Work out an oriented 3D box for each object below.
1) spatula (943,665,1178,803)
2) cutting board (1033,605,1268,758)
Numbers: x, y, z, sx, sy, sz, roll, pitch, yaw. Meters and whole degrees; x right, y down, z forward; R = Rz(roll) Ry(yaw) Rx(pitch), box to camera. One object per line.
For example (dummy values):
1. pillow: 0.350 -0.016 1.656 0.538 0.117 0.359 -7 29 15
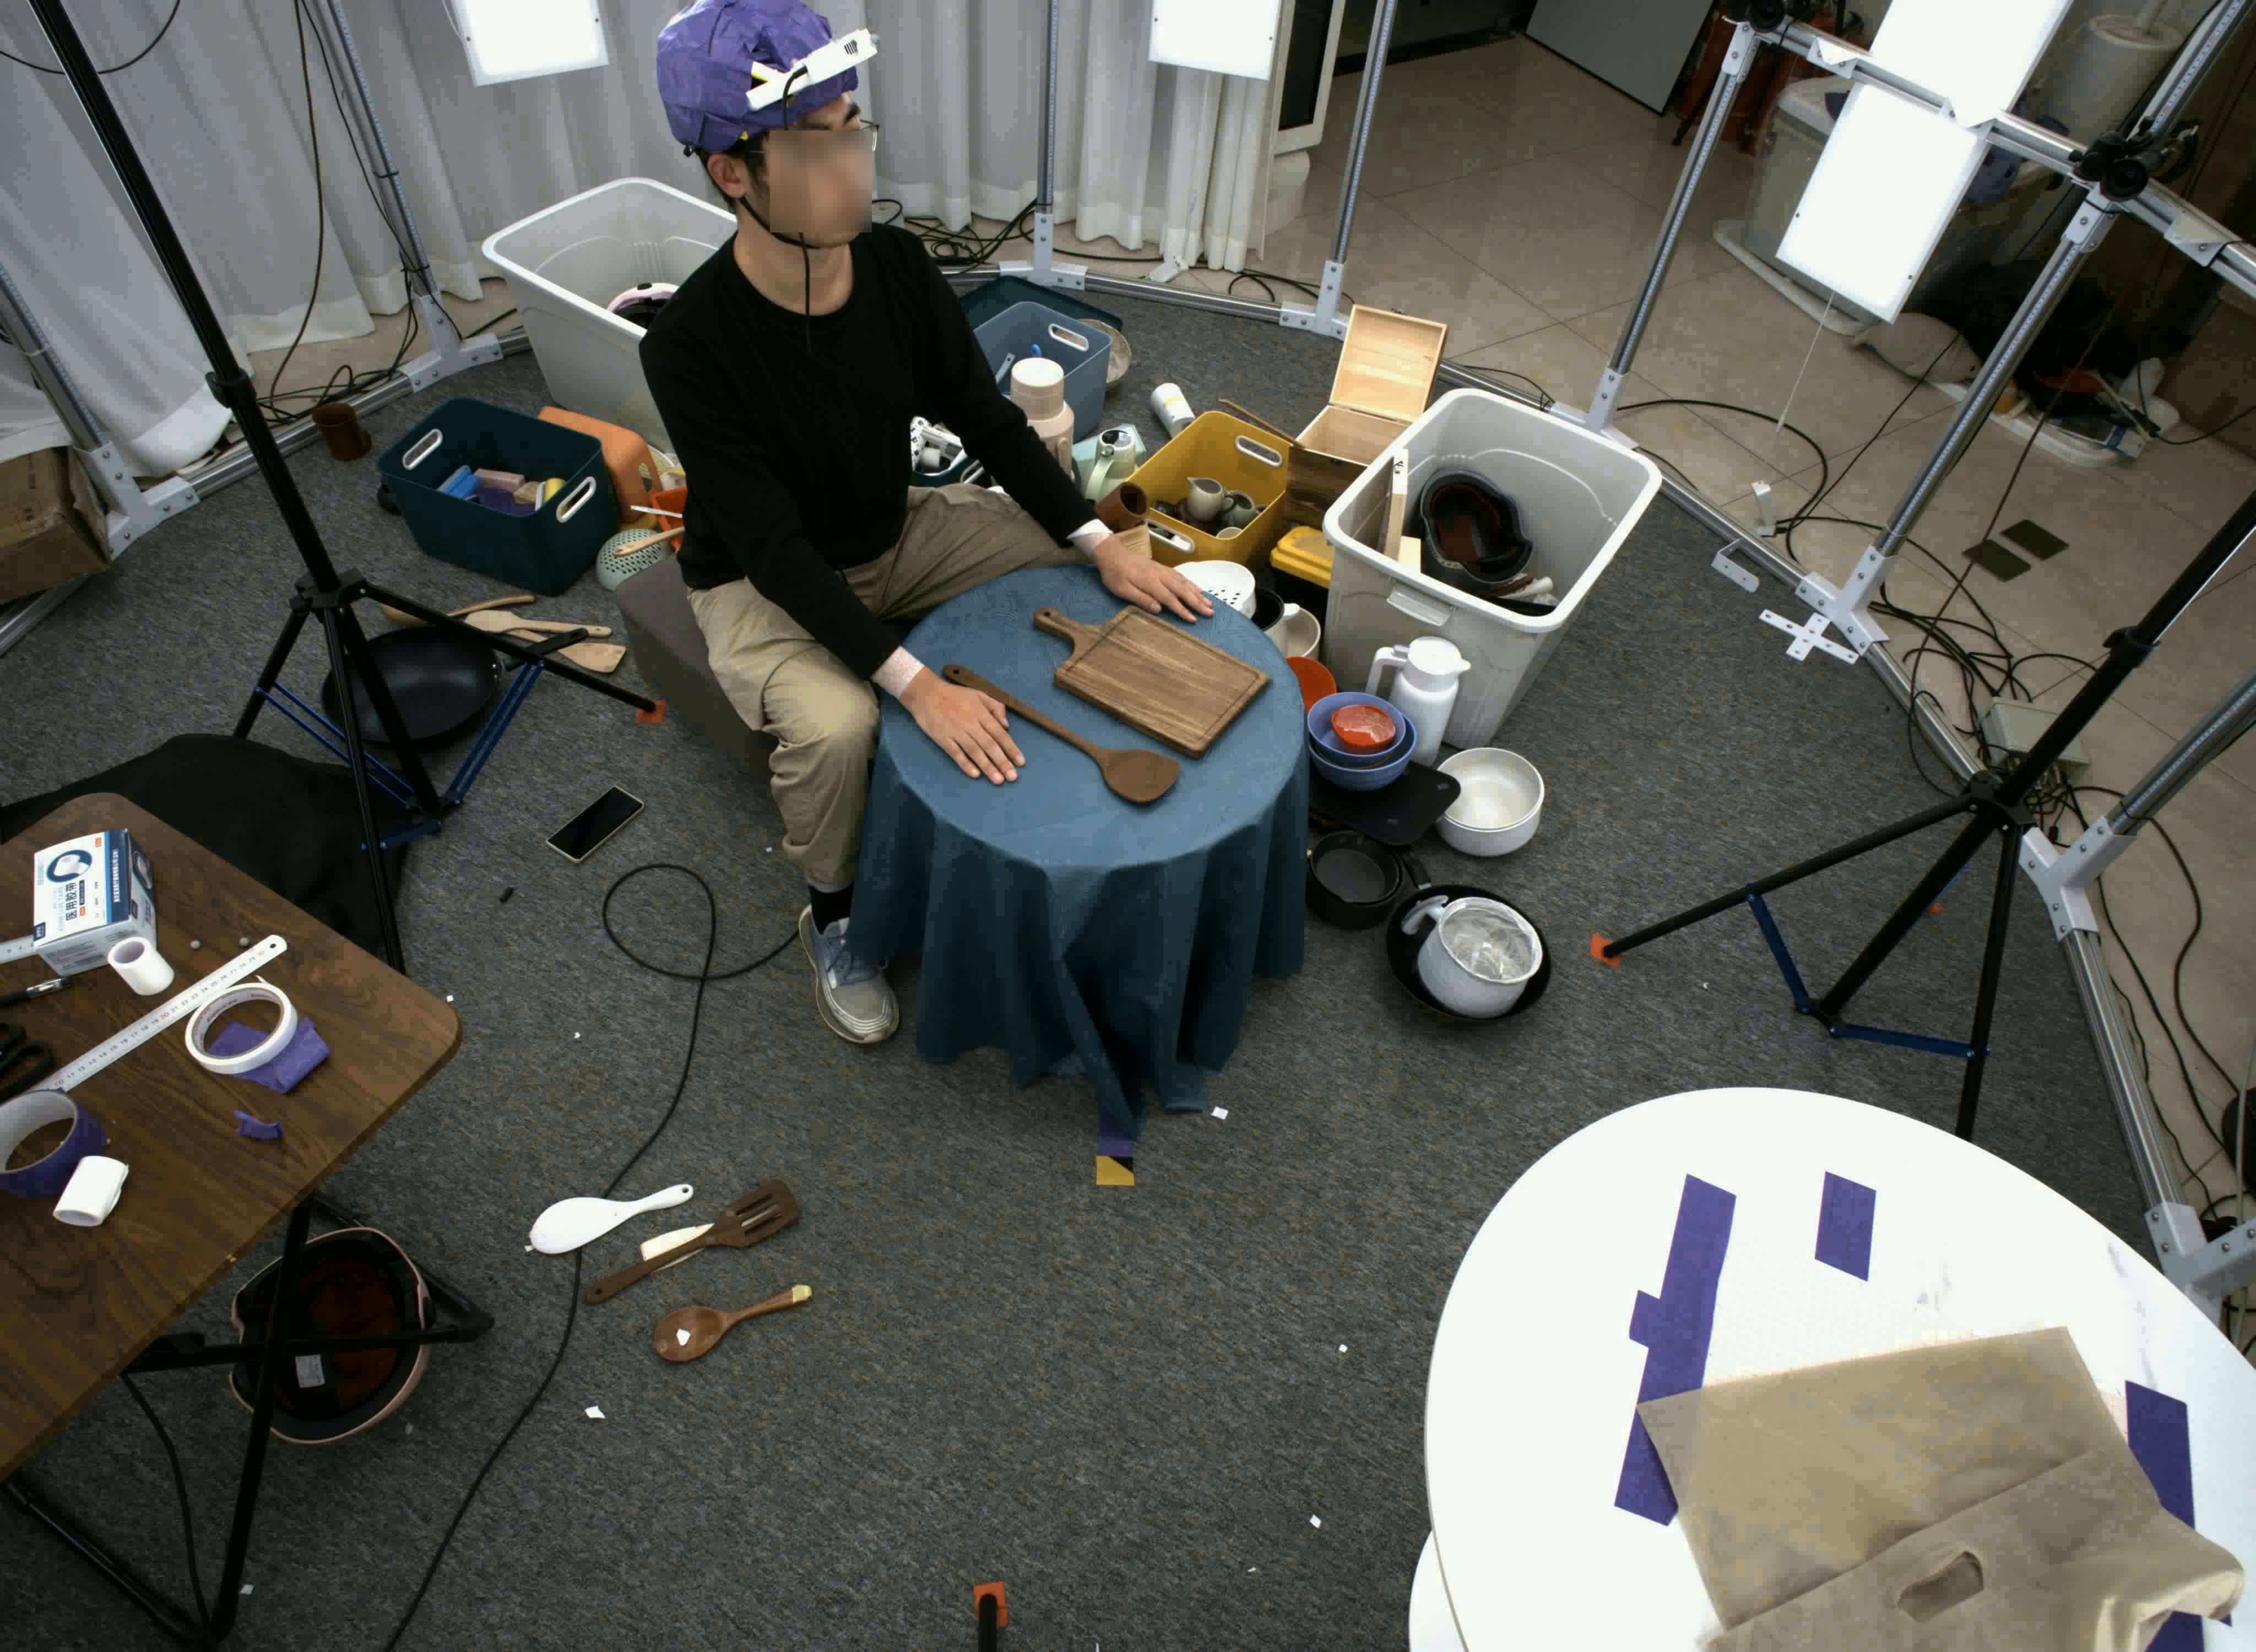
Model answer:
1. spatula: -0.105 -0.138 1.773 0.390 0.015 0.097 30 53 21
2. cutting board: 0.008 -0.237 1.862 0.356 0.022 0.204 29 53 20
